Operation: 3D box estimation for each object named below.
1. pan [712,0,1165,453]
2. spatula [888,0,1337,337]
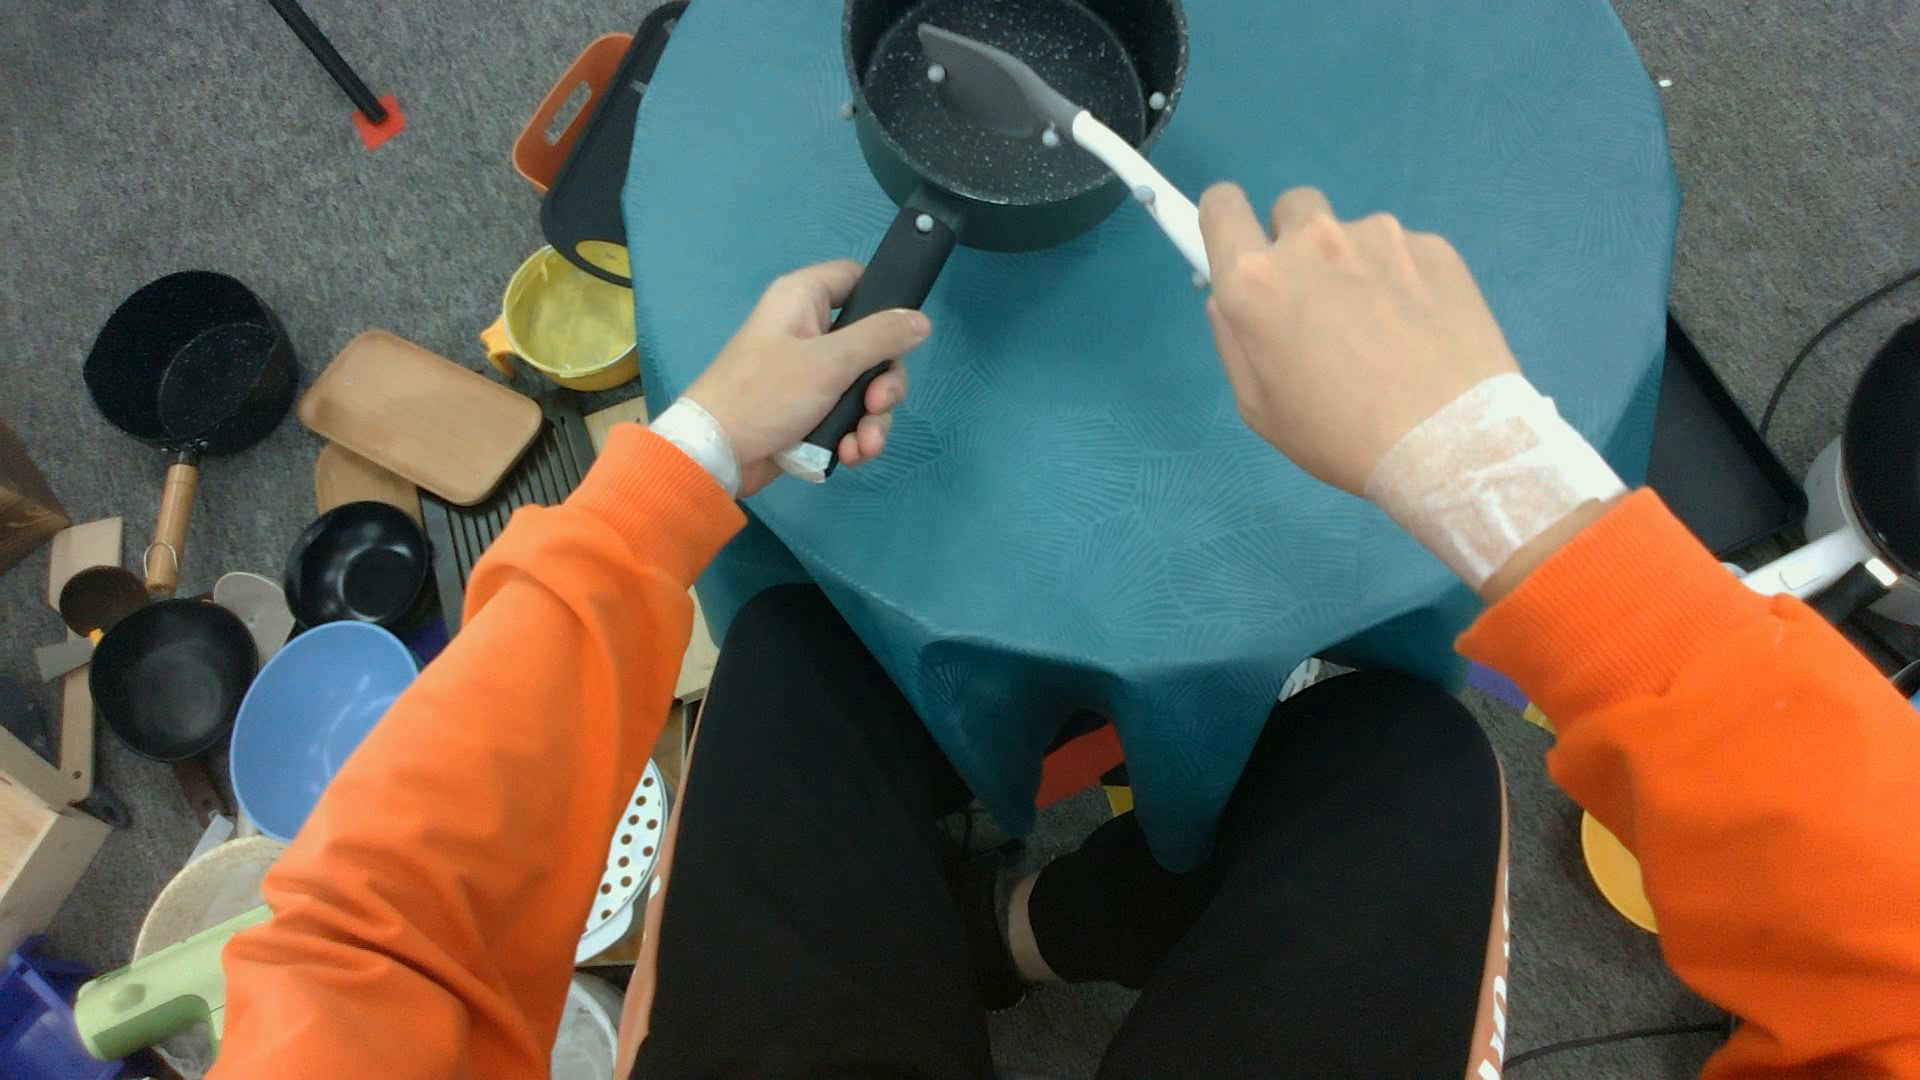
[{"bbox_3d":[-0.023,-0.177,0.694,0.172,0.086,0.329,28,76,3],"label":"pan"},{"bbox_3d":[0.053,-0.169,0.598,0.032,0.058,0.288,-36,51,-8],"label":"spatula"}]
